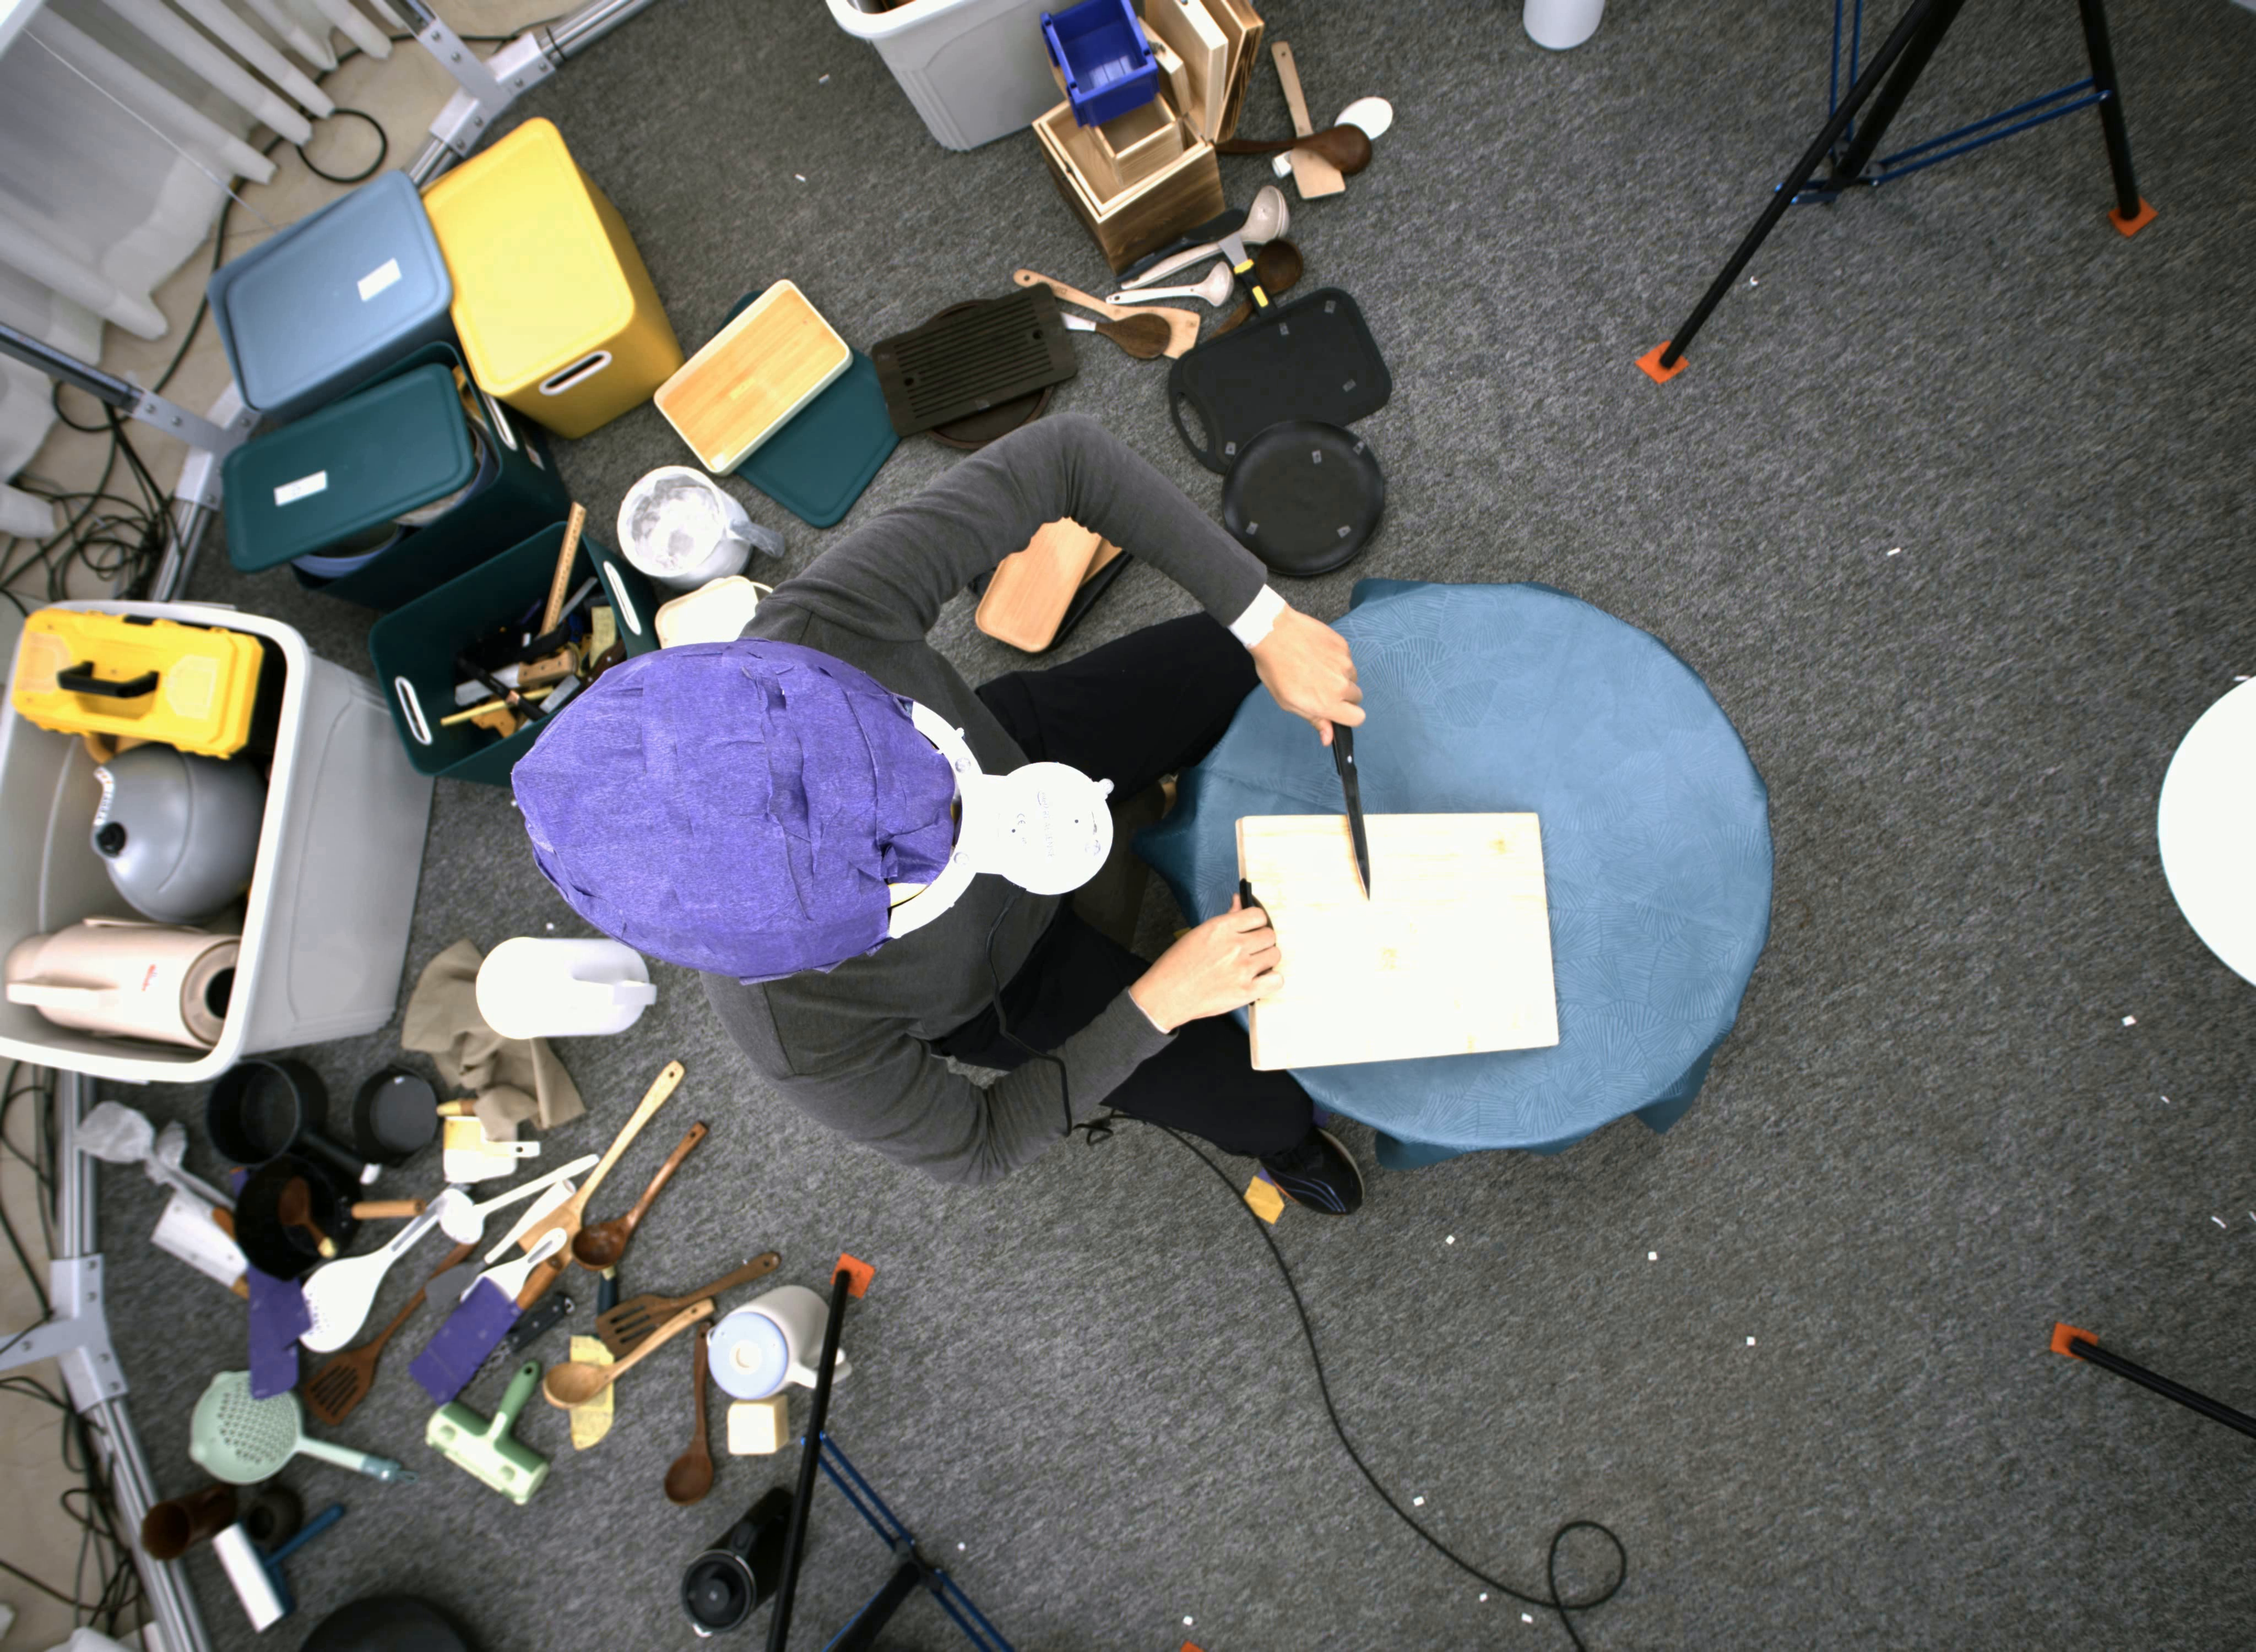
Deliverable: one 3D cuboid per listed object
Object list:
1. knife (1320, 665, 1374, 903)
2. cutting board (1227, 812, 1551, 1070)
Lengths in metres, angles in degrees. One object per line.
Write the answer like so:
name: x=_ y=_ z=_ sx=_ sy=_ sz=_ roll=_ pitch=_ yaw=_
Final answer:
knife: x=0.216 y=-0.042 z=1.346 sx=0.024 sy=0.016 sz=0.237 roll=-8 pitch=88 yaw=-34
cutting board: x=0.265 y=0.106 z=1.363 sx=0.347 sy=0.024 sz=0.249 roll=-2 pitch=85 yaw=-20
